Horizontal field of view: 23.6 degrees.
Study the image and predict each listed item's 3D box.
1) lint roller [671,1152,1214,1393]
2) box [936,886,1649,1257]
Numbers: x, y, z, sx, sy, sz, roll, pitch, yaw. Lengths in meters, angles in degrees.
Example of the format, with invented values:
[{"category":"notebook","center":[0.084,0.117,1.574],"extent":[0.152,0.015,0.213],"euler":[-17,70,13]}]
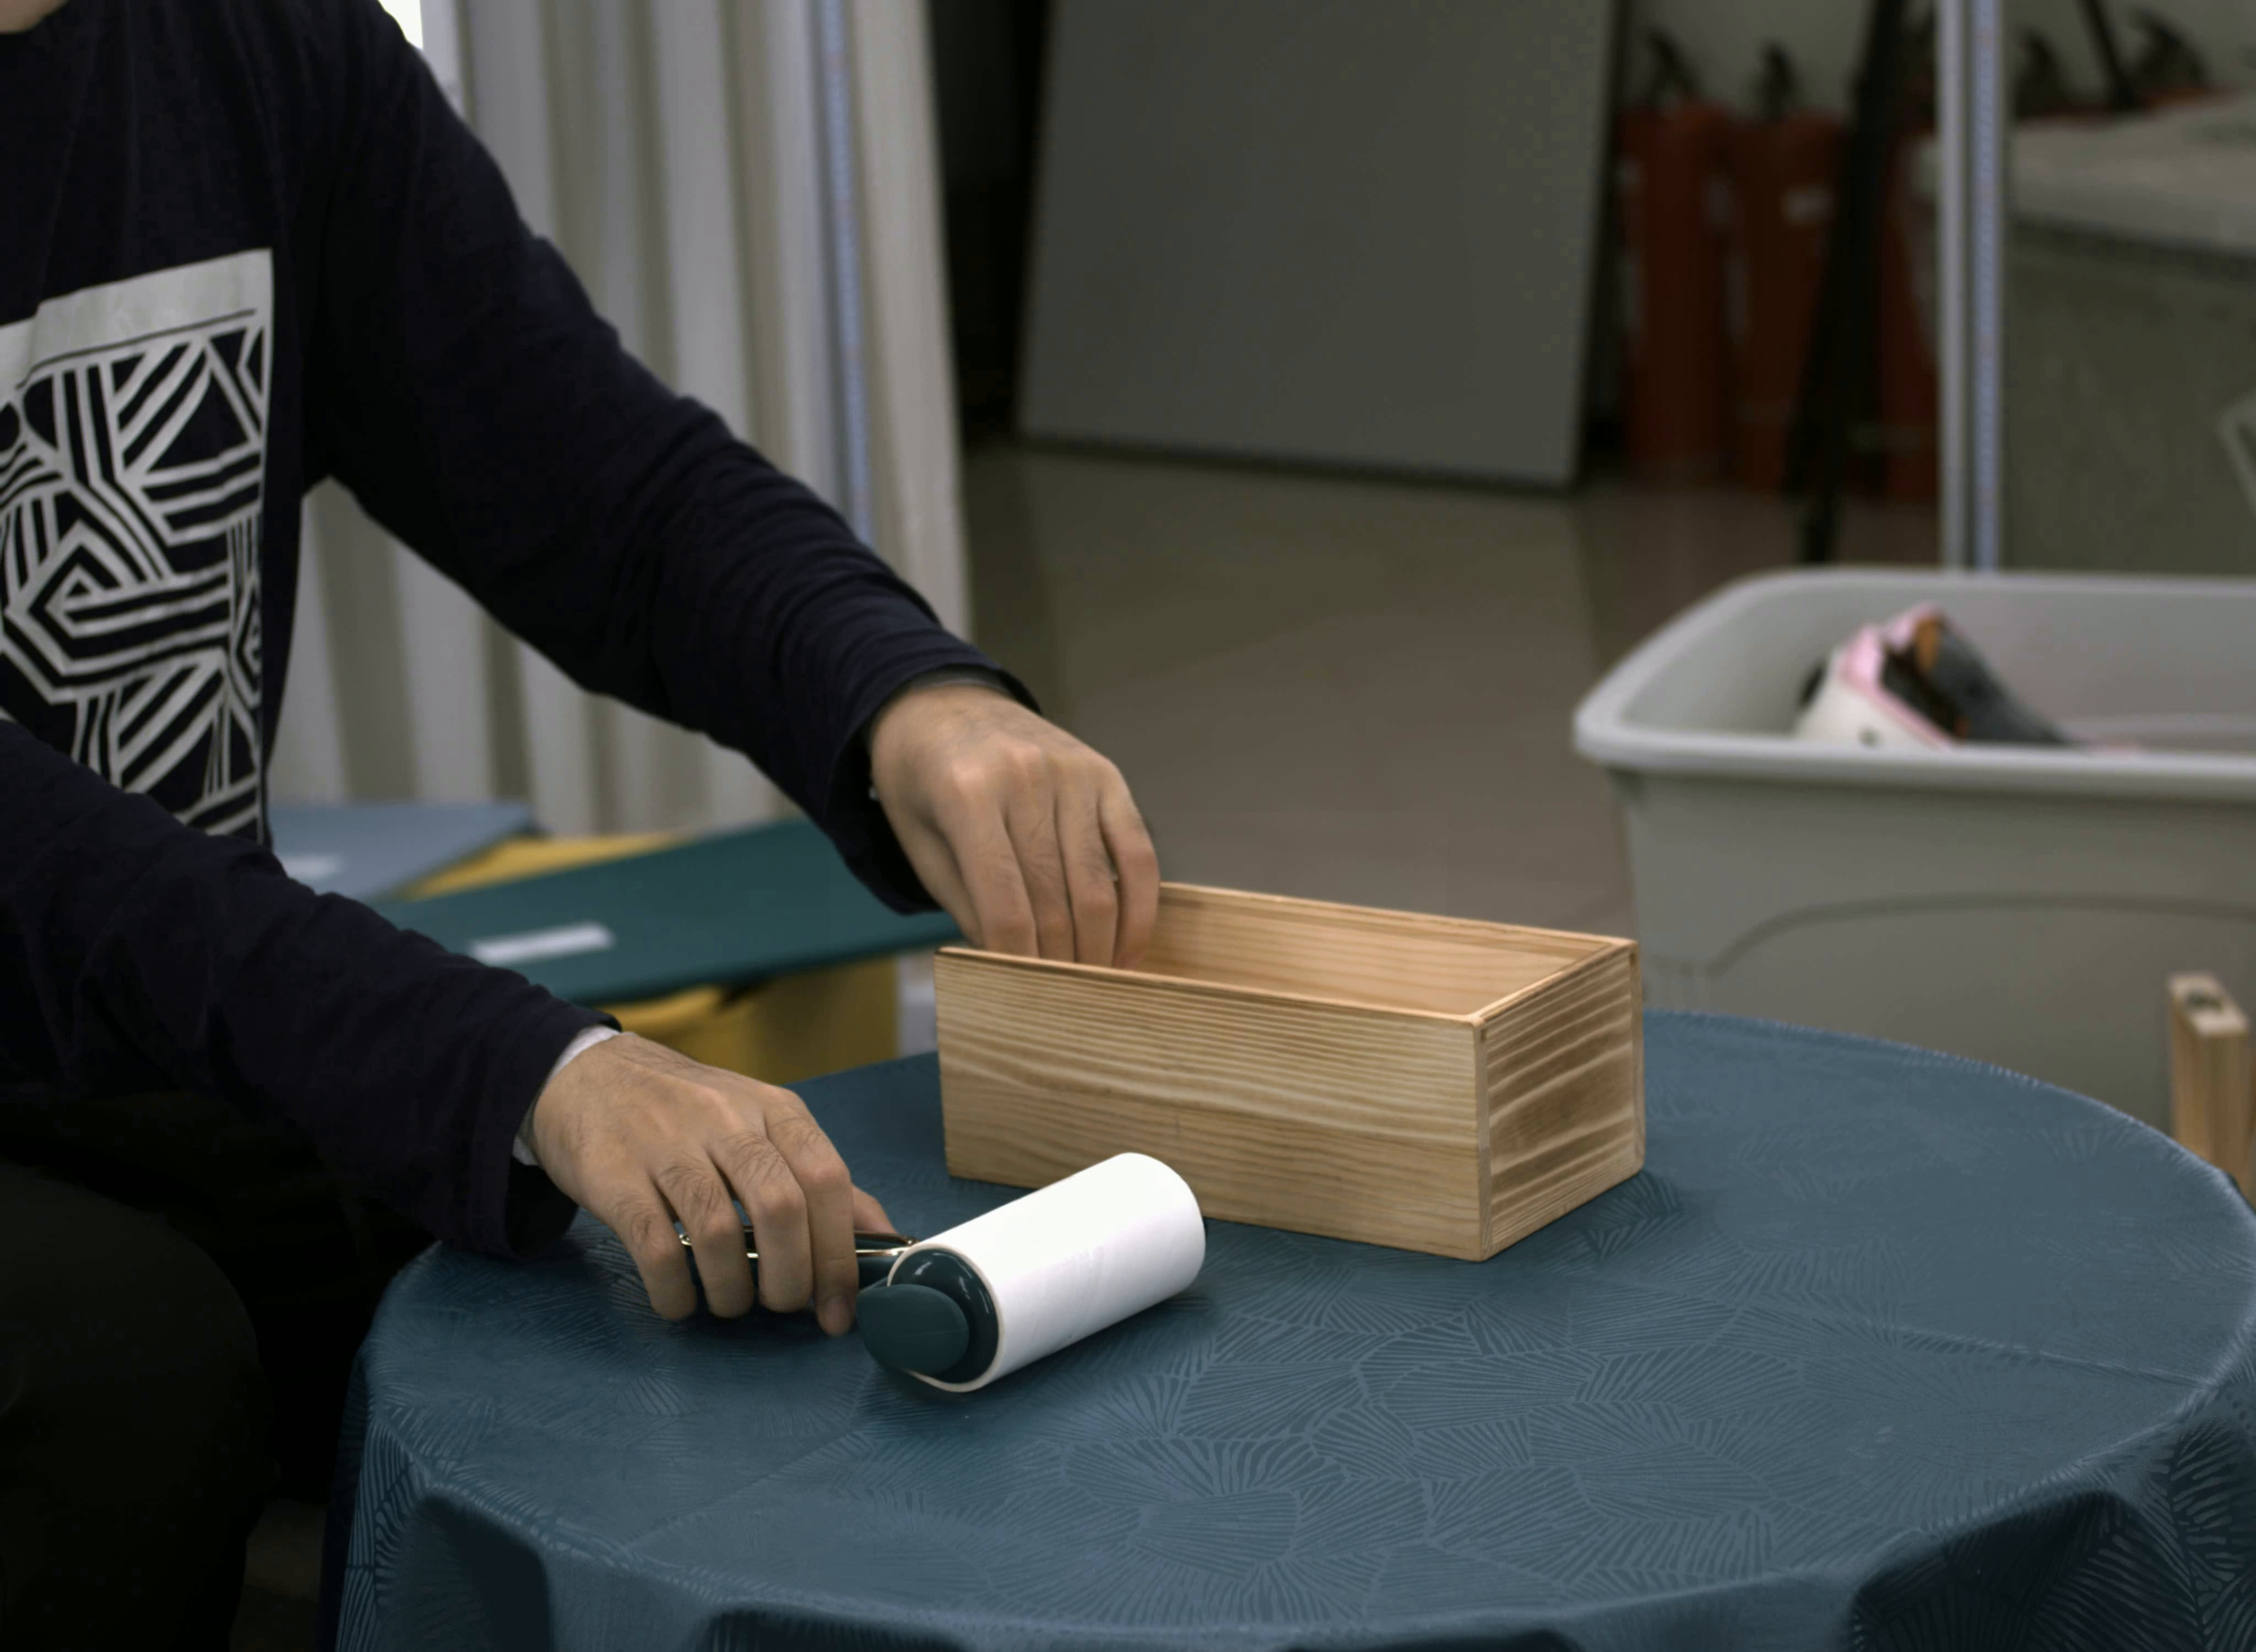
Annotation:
[{"category":"lint roller","center":[-0.076,0.133,1.670],"extent":[0.181,0.049,0.132],"euler":[1,14,40]},{"category":"box","center":[0.054,0.078,1.770],"extent":[0.213,0.081,0.105],"euler":[4,16,36]}]
